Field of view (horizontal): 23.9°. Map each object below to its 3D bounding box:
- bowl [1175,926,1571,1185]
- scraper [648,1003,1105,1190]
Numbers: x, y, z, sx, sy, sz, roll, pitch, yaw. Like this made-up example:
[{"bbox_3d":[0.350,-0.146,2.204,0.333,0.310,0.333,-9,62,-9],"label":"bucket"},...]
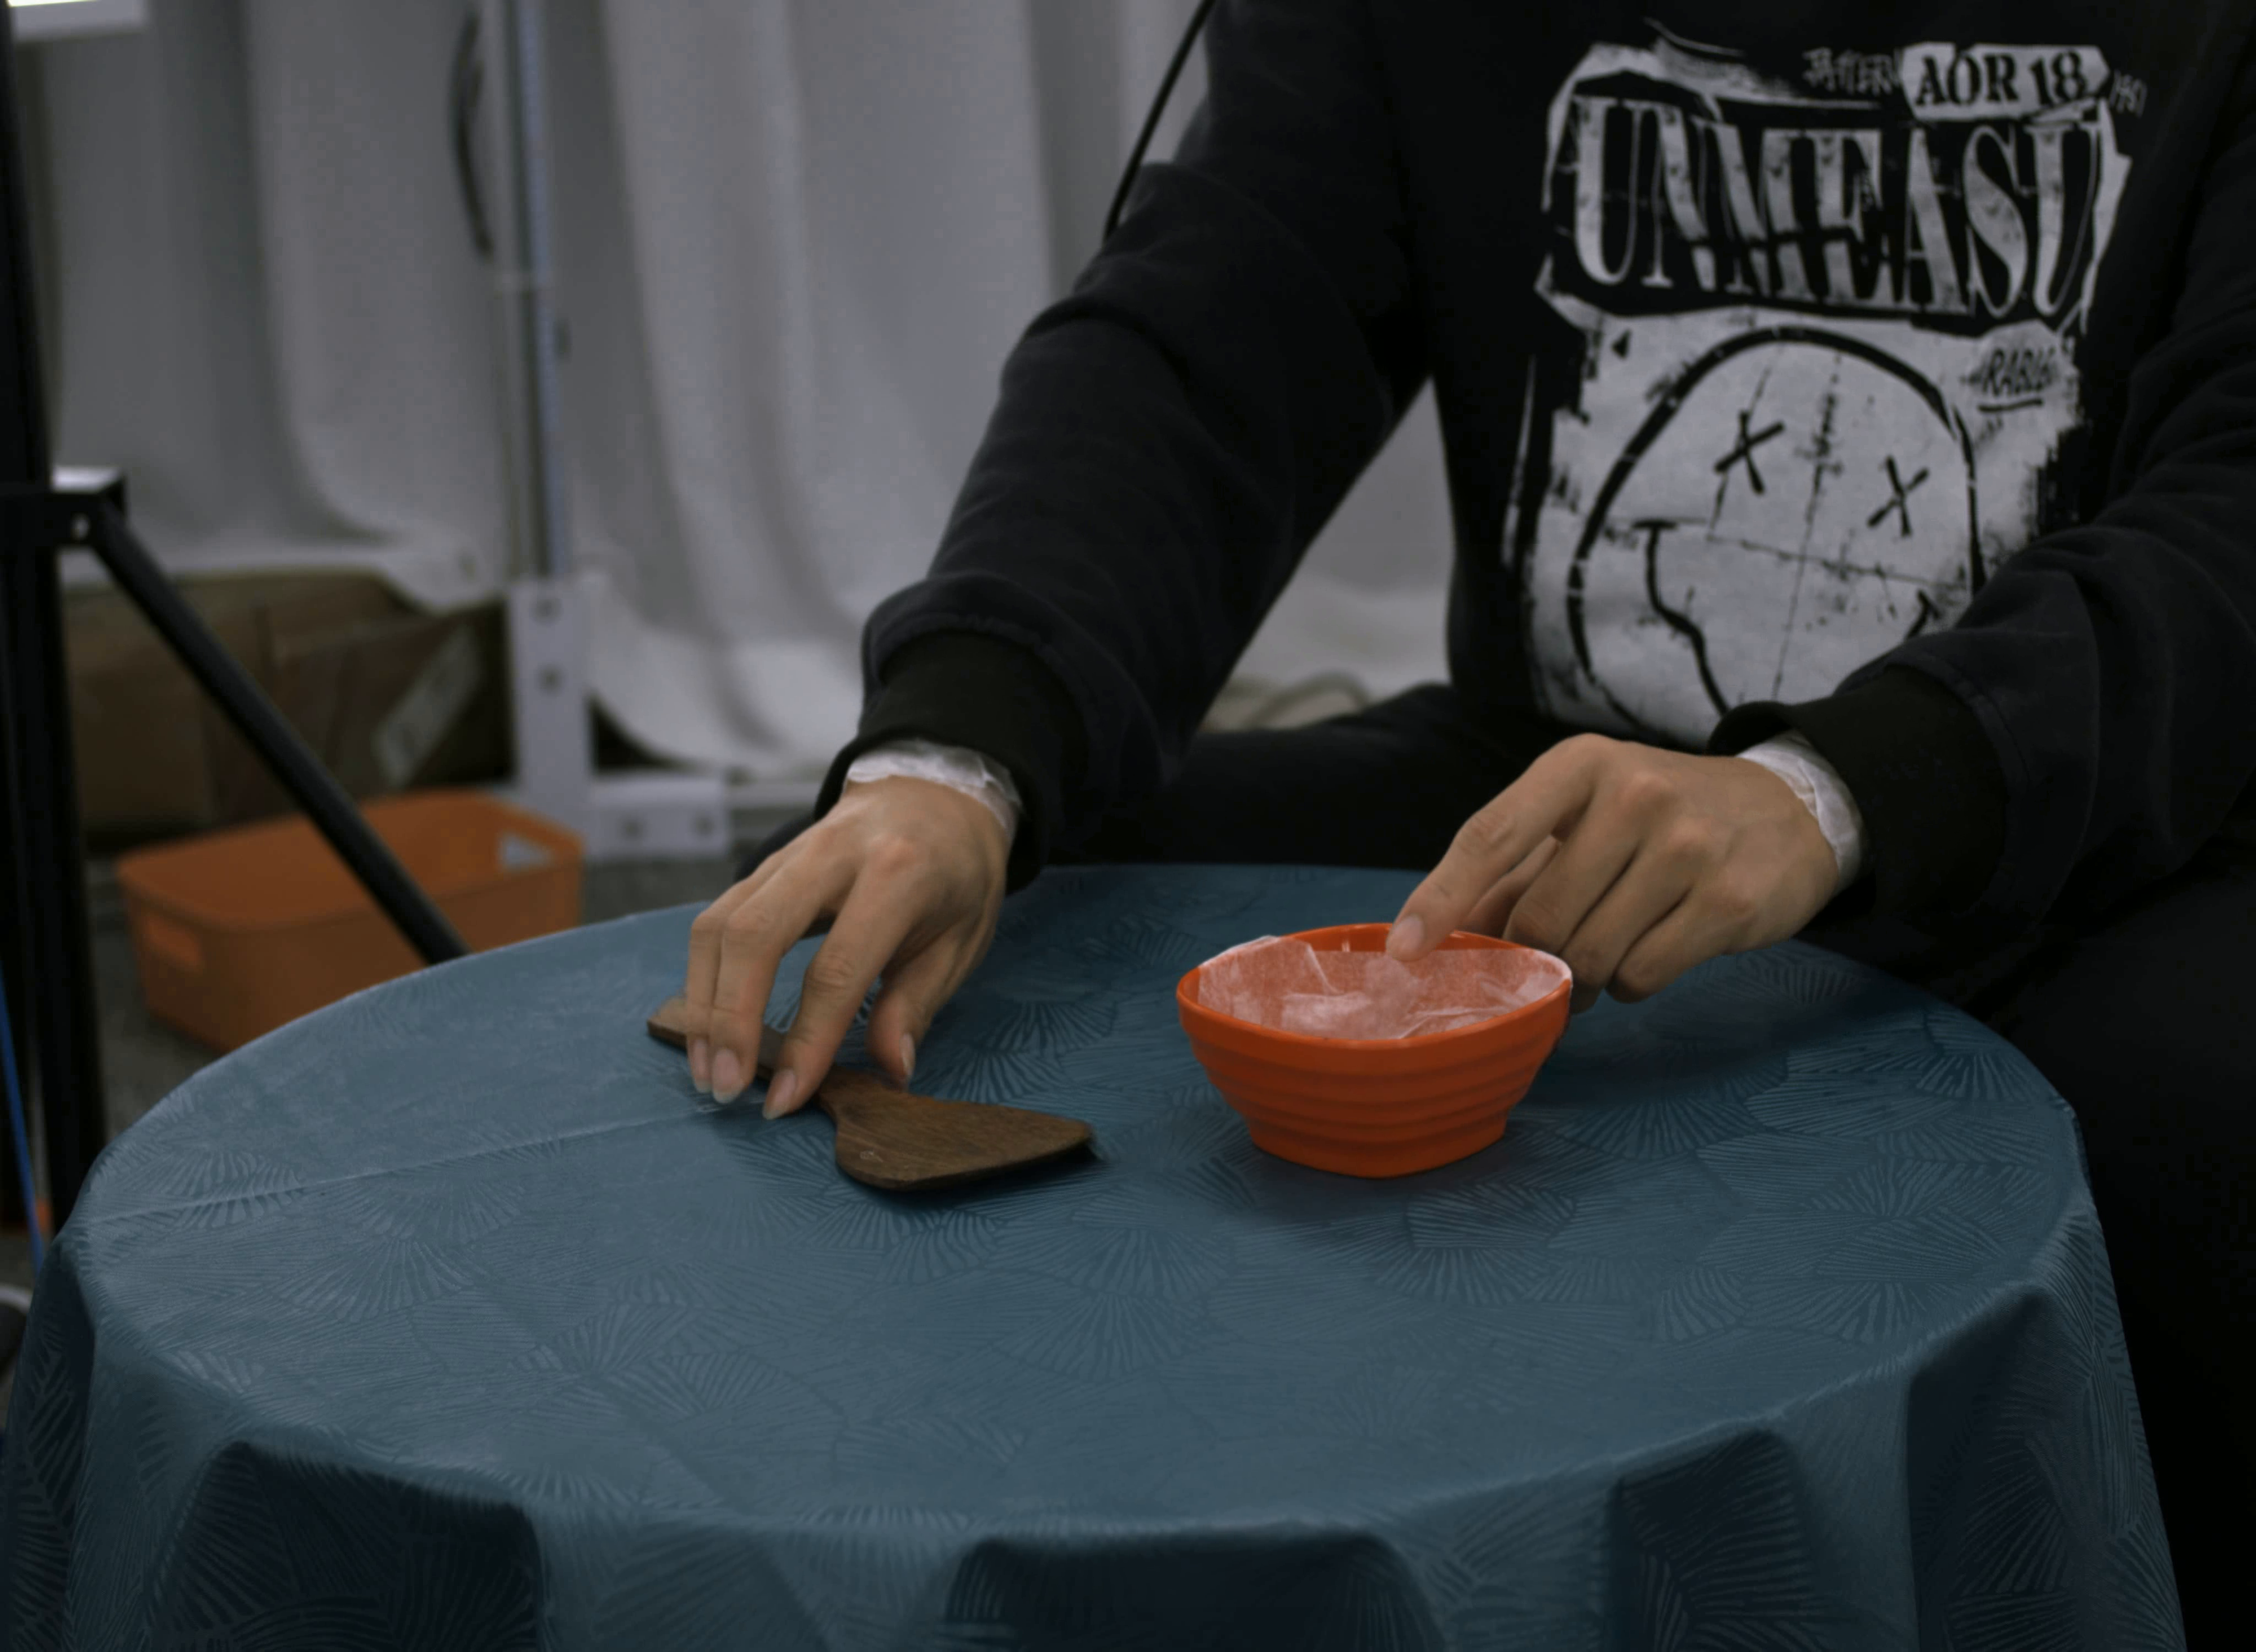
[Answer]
[{"bbox_3d":[0.074,0.071,1.589,0.118,0.051,0.119,-4,16,0],"label":"bowl"},{"bbox_3d":[-0.089,0.082,1.650,0.074,0.011,0.216,-11,17,-31],"label":"scraper"}]
